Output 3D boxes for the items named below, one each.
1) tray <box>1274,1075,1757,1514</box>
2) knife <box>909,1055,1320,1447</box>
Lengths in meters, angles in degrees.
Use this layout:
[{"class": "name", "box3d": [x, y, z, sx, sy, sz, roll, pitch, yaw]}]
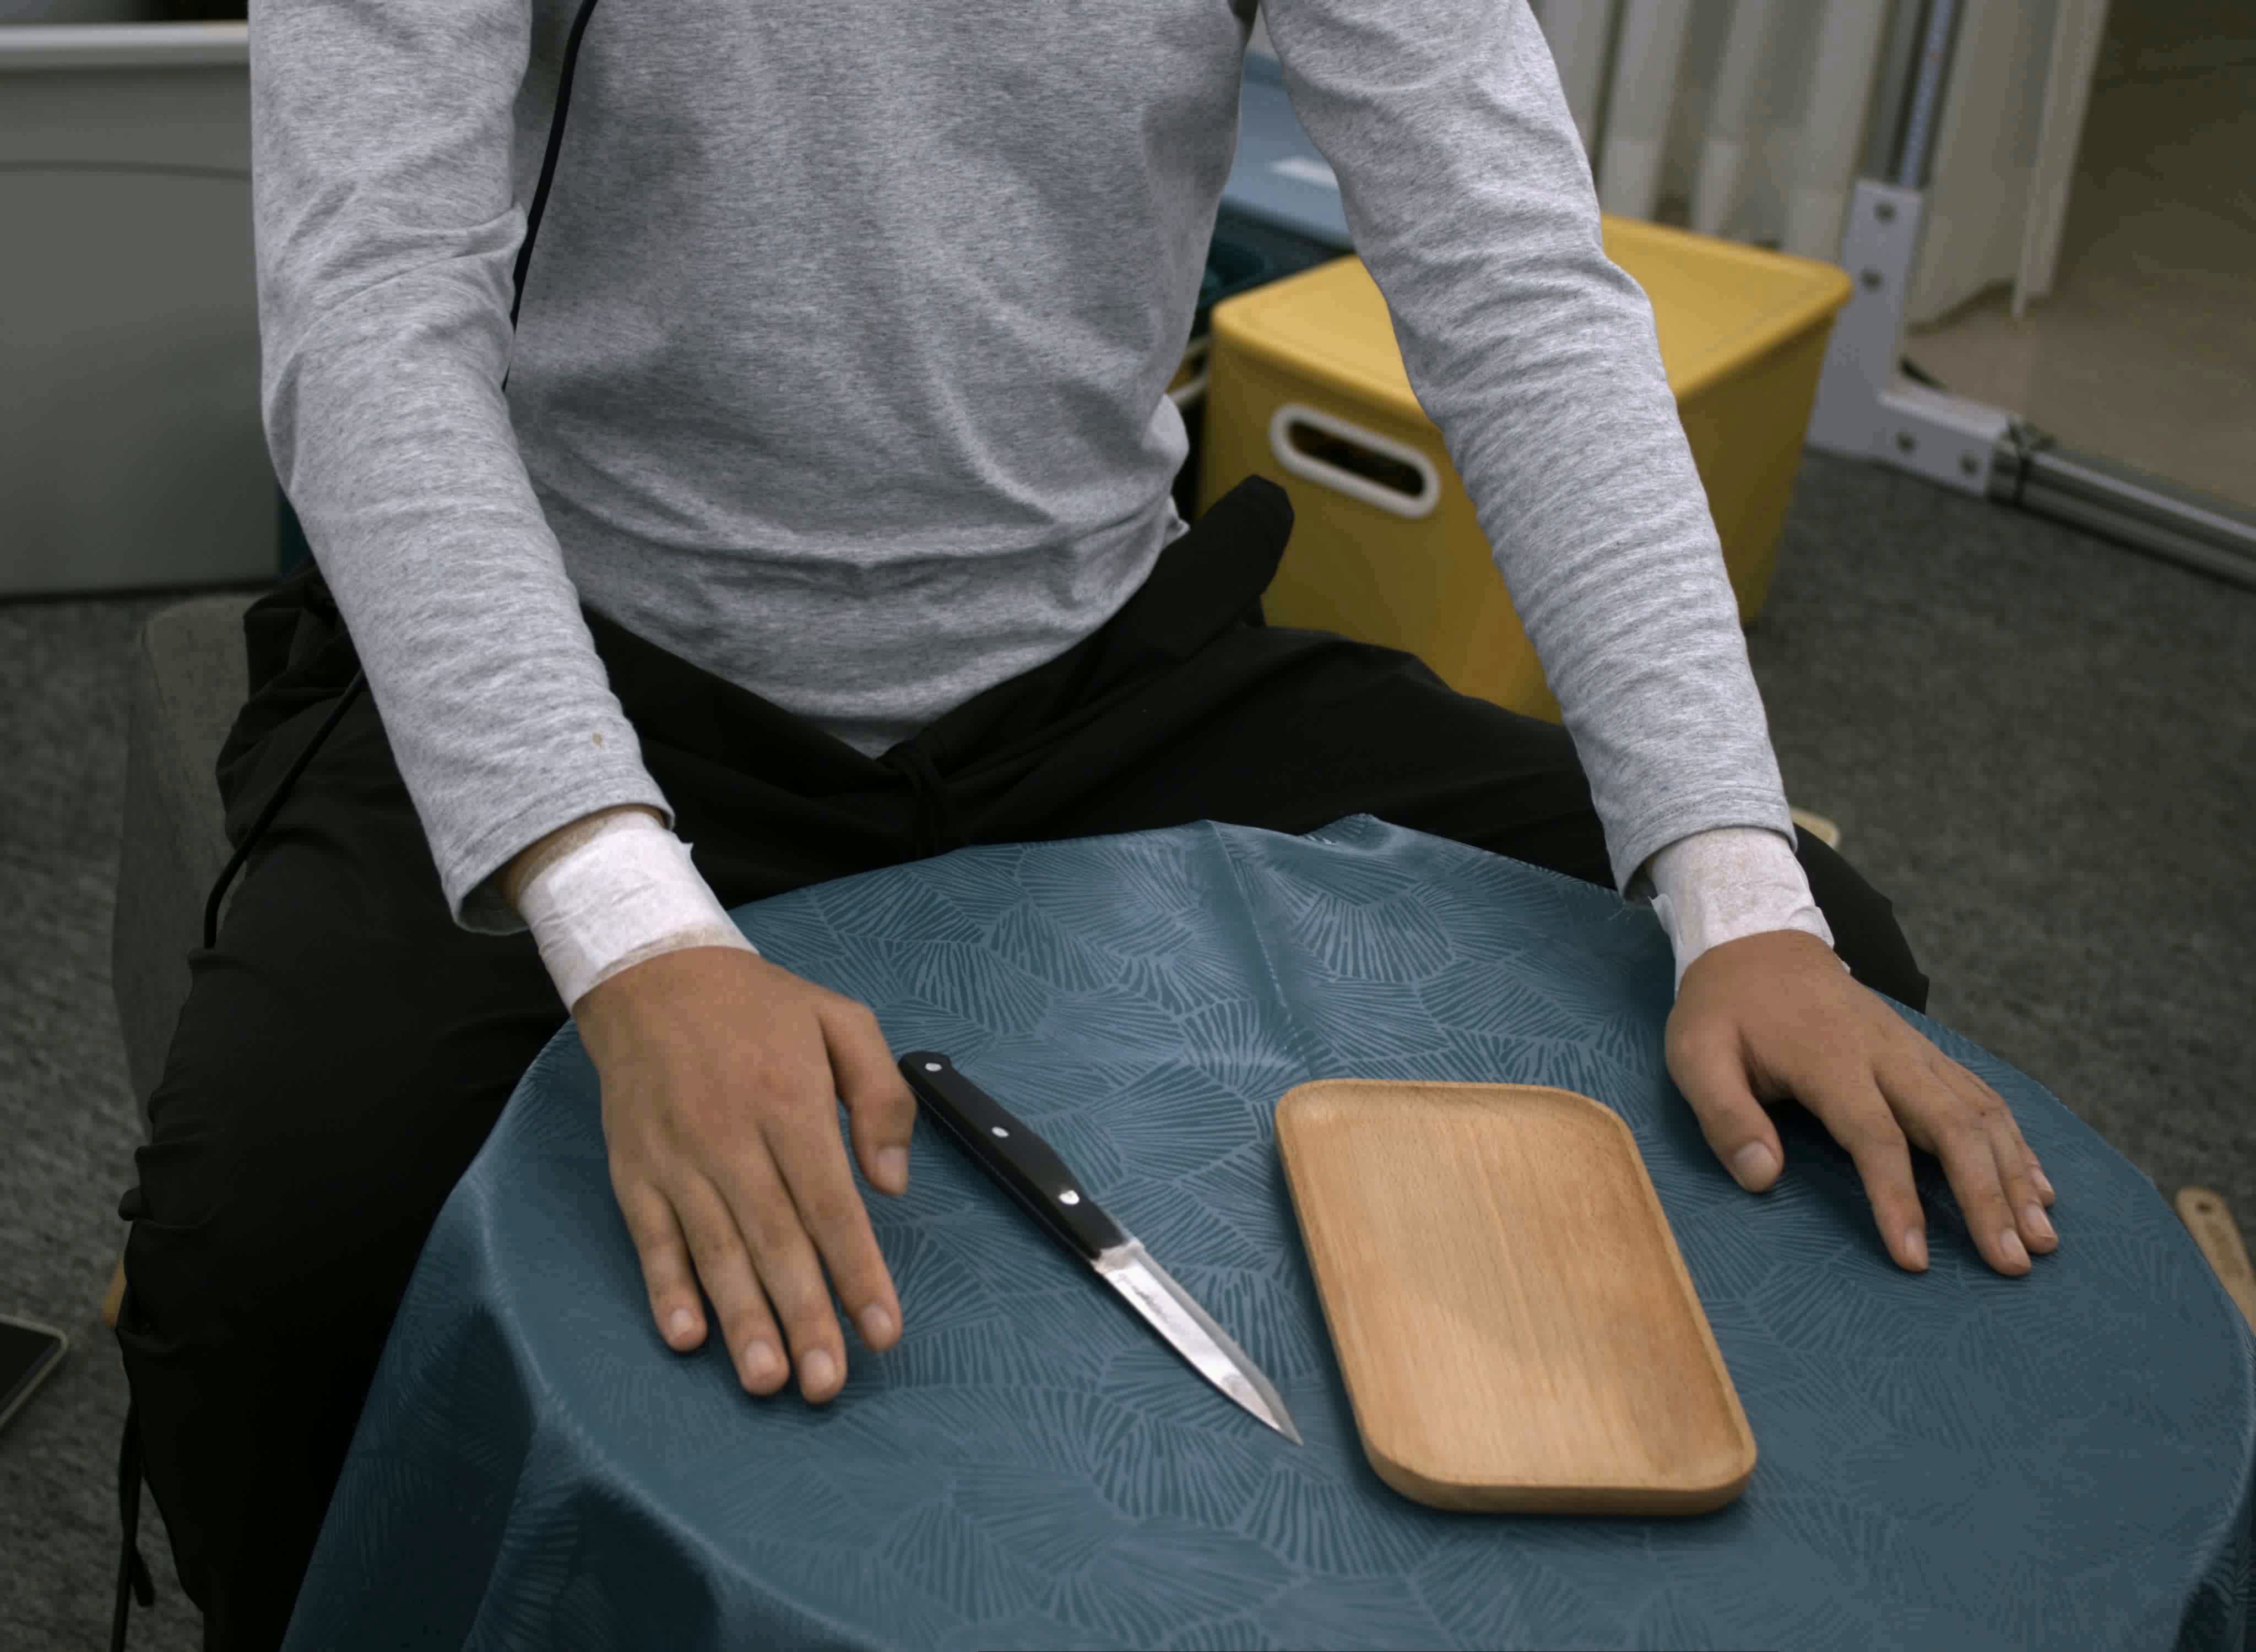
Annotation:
[{"class": "tray", "box3d": [0.124, 0.152, 1.759, 0.130, 0.023, 0.252, 5, 26, -9]}, {"class": "knife", "box3d": [-0.008, 0.140, 1.759, 0.024, 0.016, 0.240, -12, 35, -32]}]
